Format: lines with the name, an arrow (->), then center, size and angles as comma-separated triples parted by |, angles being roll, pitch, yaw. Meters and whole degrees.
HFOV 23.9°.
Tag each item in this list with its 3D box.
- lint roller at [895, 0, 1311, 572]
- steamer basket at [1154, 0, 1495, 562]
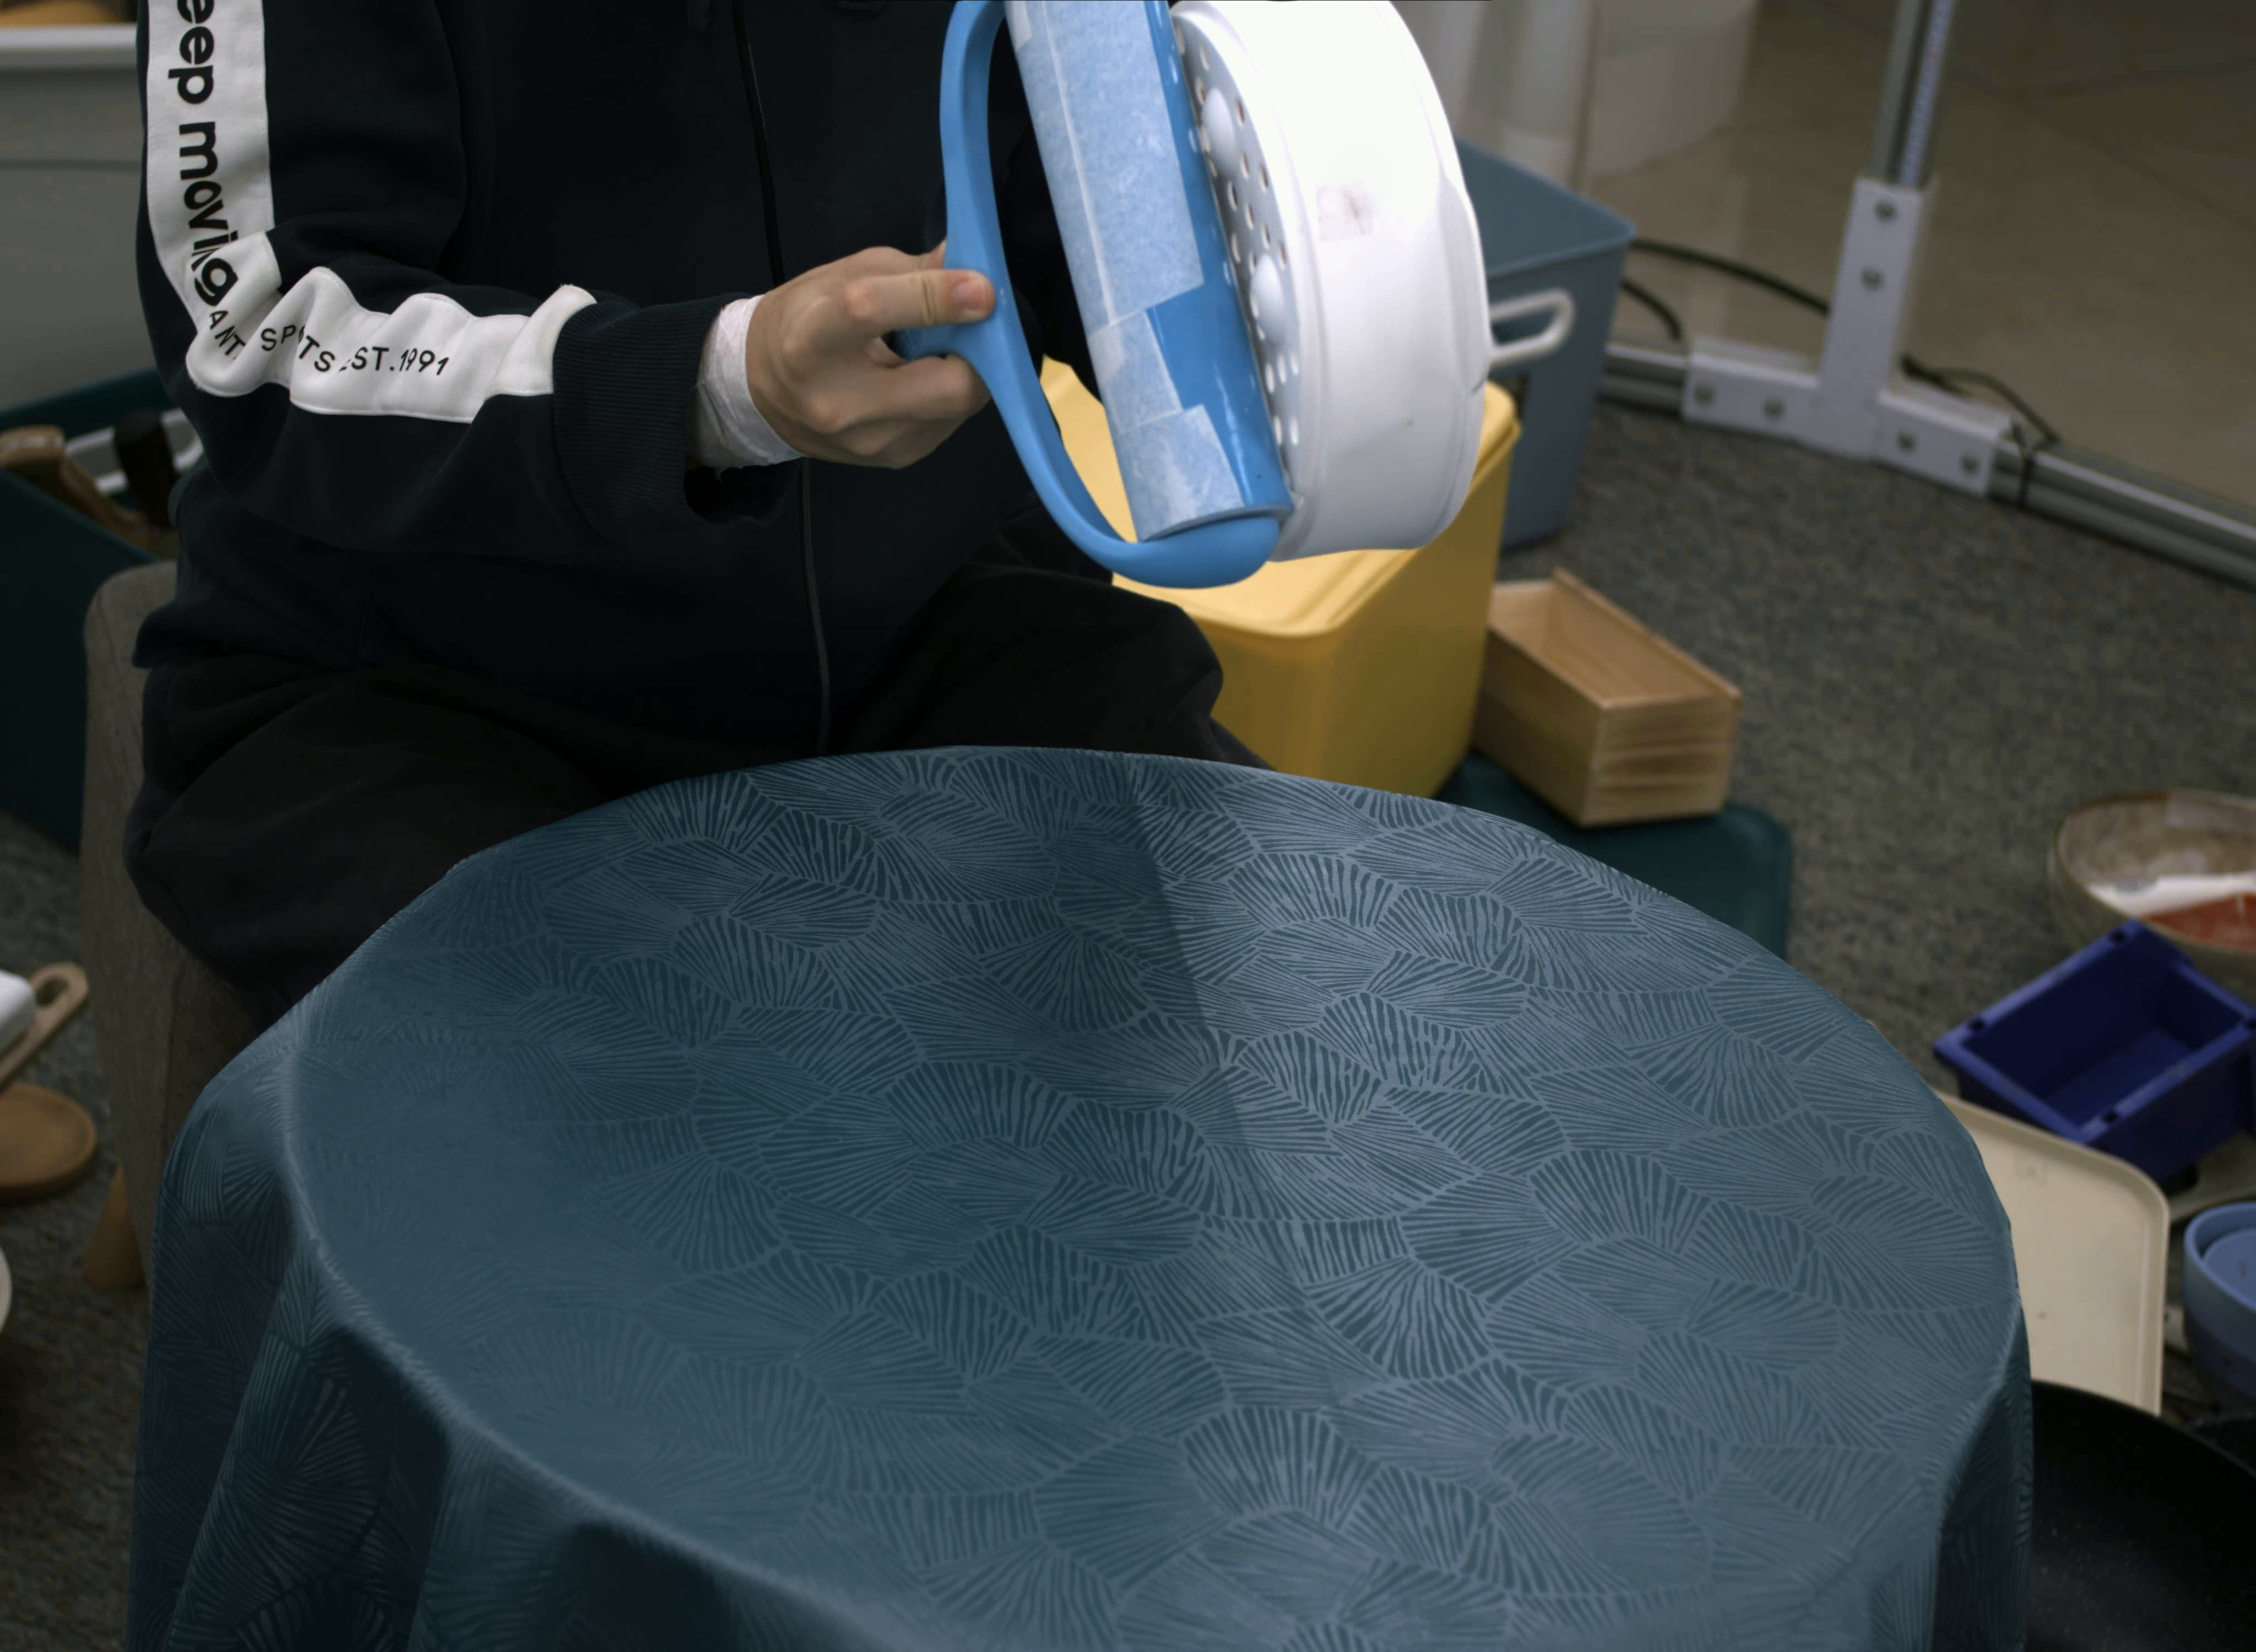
lint roller -> -0.032, -0.175, 1.805 | 0.180, 0.230, 0.067 | -26, -12, 41
steamer basket -> 0.055, -0.189, 1.809 | 0.069, 0.202, 0.232 | -9, 12, -16
